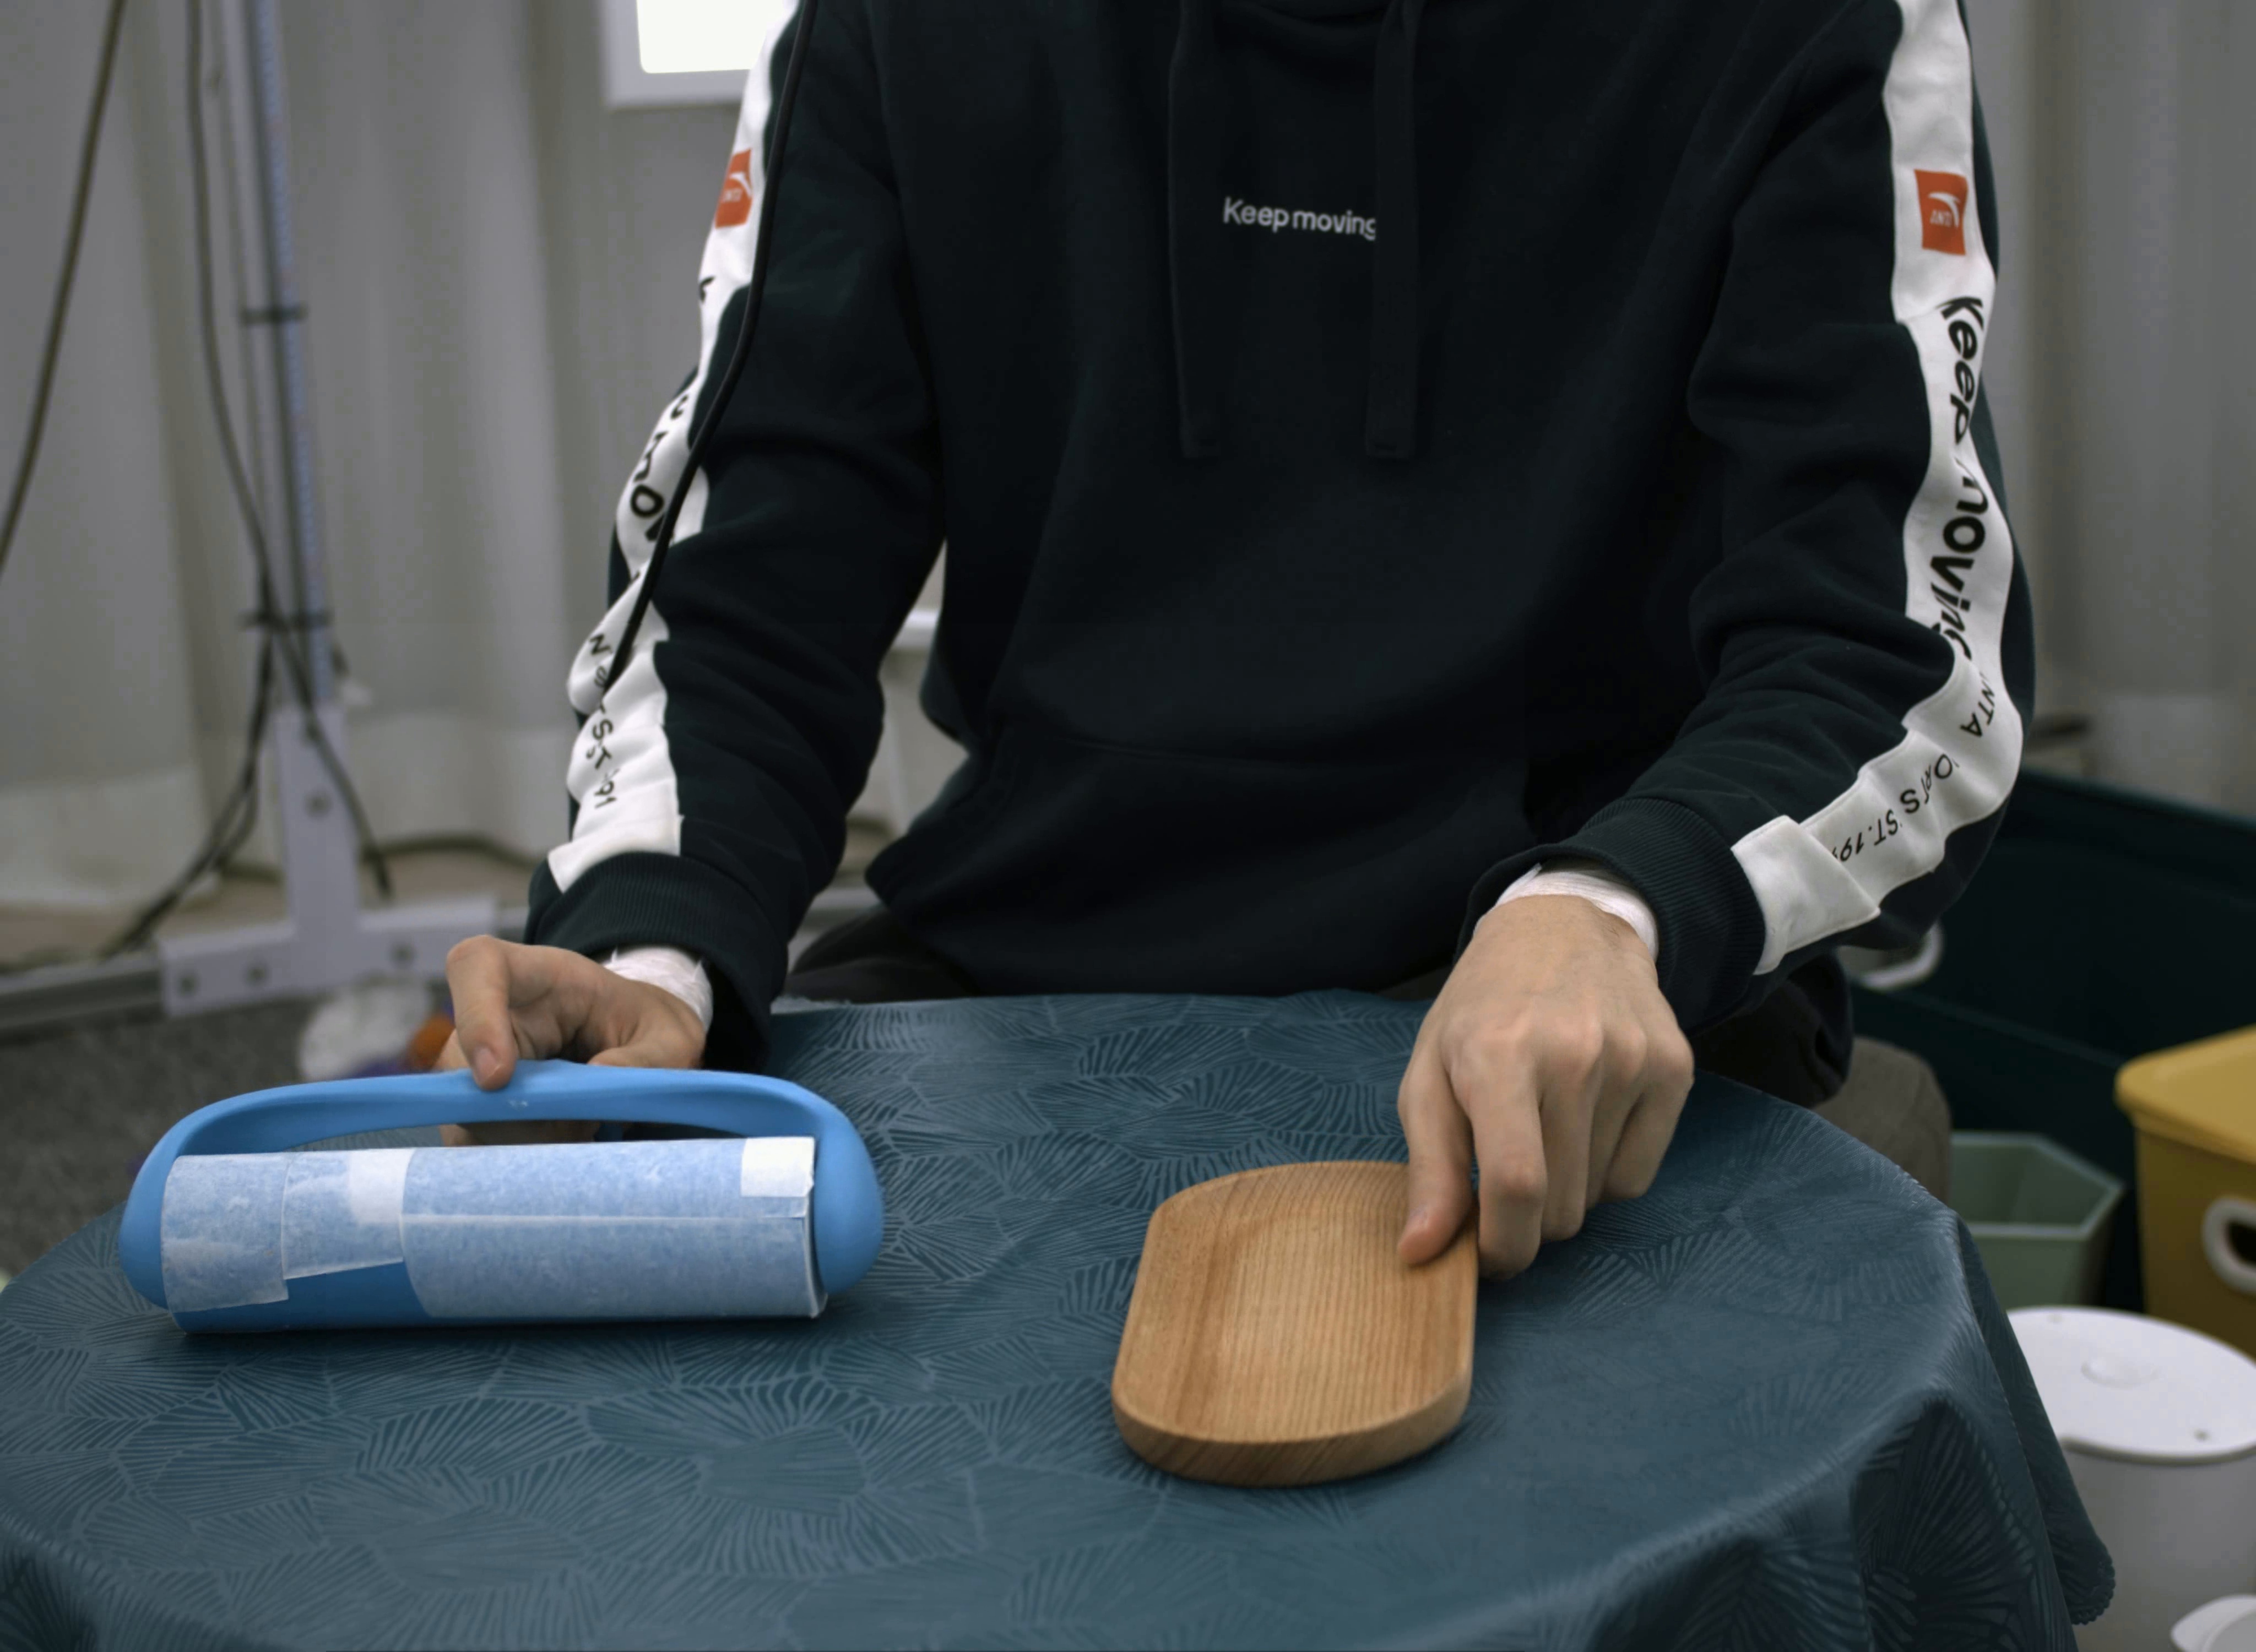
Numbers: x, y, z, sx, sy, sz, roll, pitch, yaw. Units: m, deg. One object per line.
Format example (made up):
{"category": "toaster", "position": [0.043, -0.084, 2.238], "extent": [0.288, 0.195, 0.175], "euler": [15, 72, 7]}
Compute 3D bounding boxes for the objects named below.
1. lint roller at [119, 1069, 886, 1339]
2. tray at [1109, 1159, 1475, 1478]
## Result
{"category": "lint roller", "position": [-0.184, 0.105, 1.677], "extent": [0.228, 0.067, 0.181], "euler": [-4, 16, 2]}
{"category": "tray", "position": [0.050, 0.139, 1.576], "extent": [0.101, 0.020, 0.232], "euler": [-4, 13, 5]}
